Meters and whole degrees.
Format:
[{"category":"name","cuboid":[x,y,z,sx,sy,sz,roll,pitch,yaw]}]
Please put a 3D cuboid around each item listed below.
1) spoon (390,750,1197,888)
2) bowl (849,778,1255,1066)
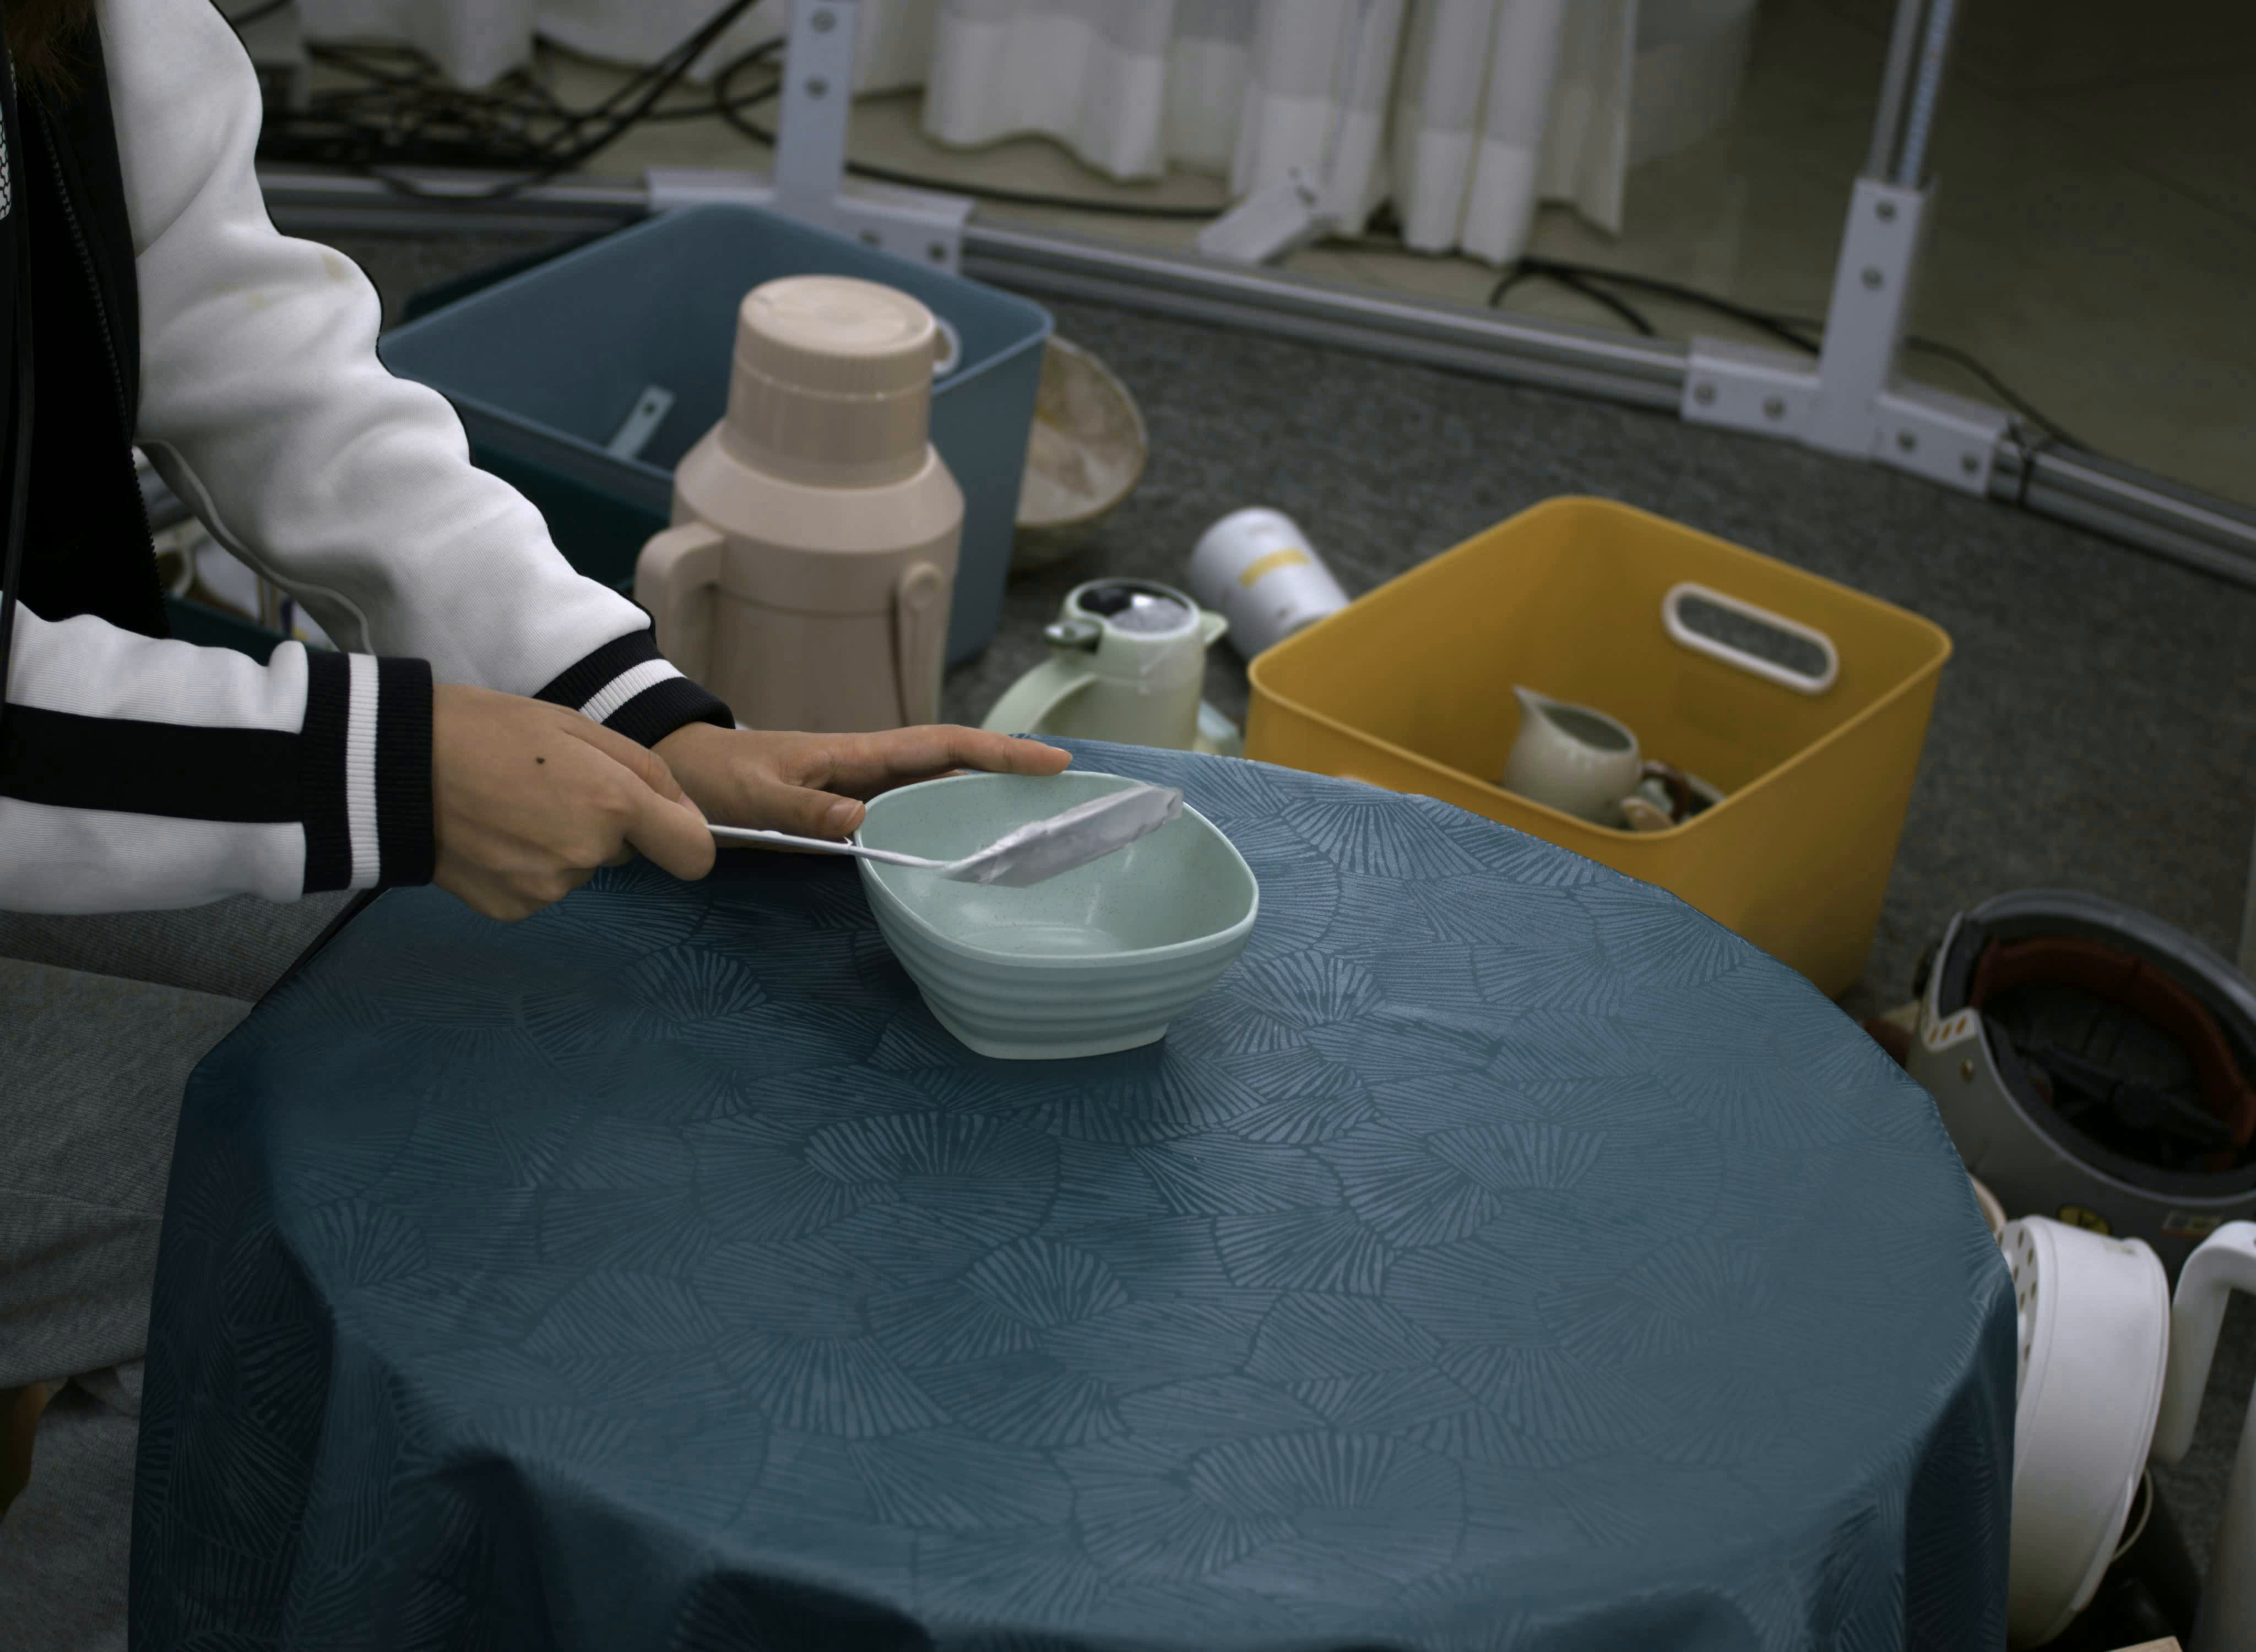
[{"category":"spoon","cuboid":[-0.117,-0.020,1.856,0.277,0.059,0.100,10,-5,2]},{"category":"bowl","cuboid":[-0.030,0.040,1.903,0.151,0.058,0.152,5,27,-3]}]
